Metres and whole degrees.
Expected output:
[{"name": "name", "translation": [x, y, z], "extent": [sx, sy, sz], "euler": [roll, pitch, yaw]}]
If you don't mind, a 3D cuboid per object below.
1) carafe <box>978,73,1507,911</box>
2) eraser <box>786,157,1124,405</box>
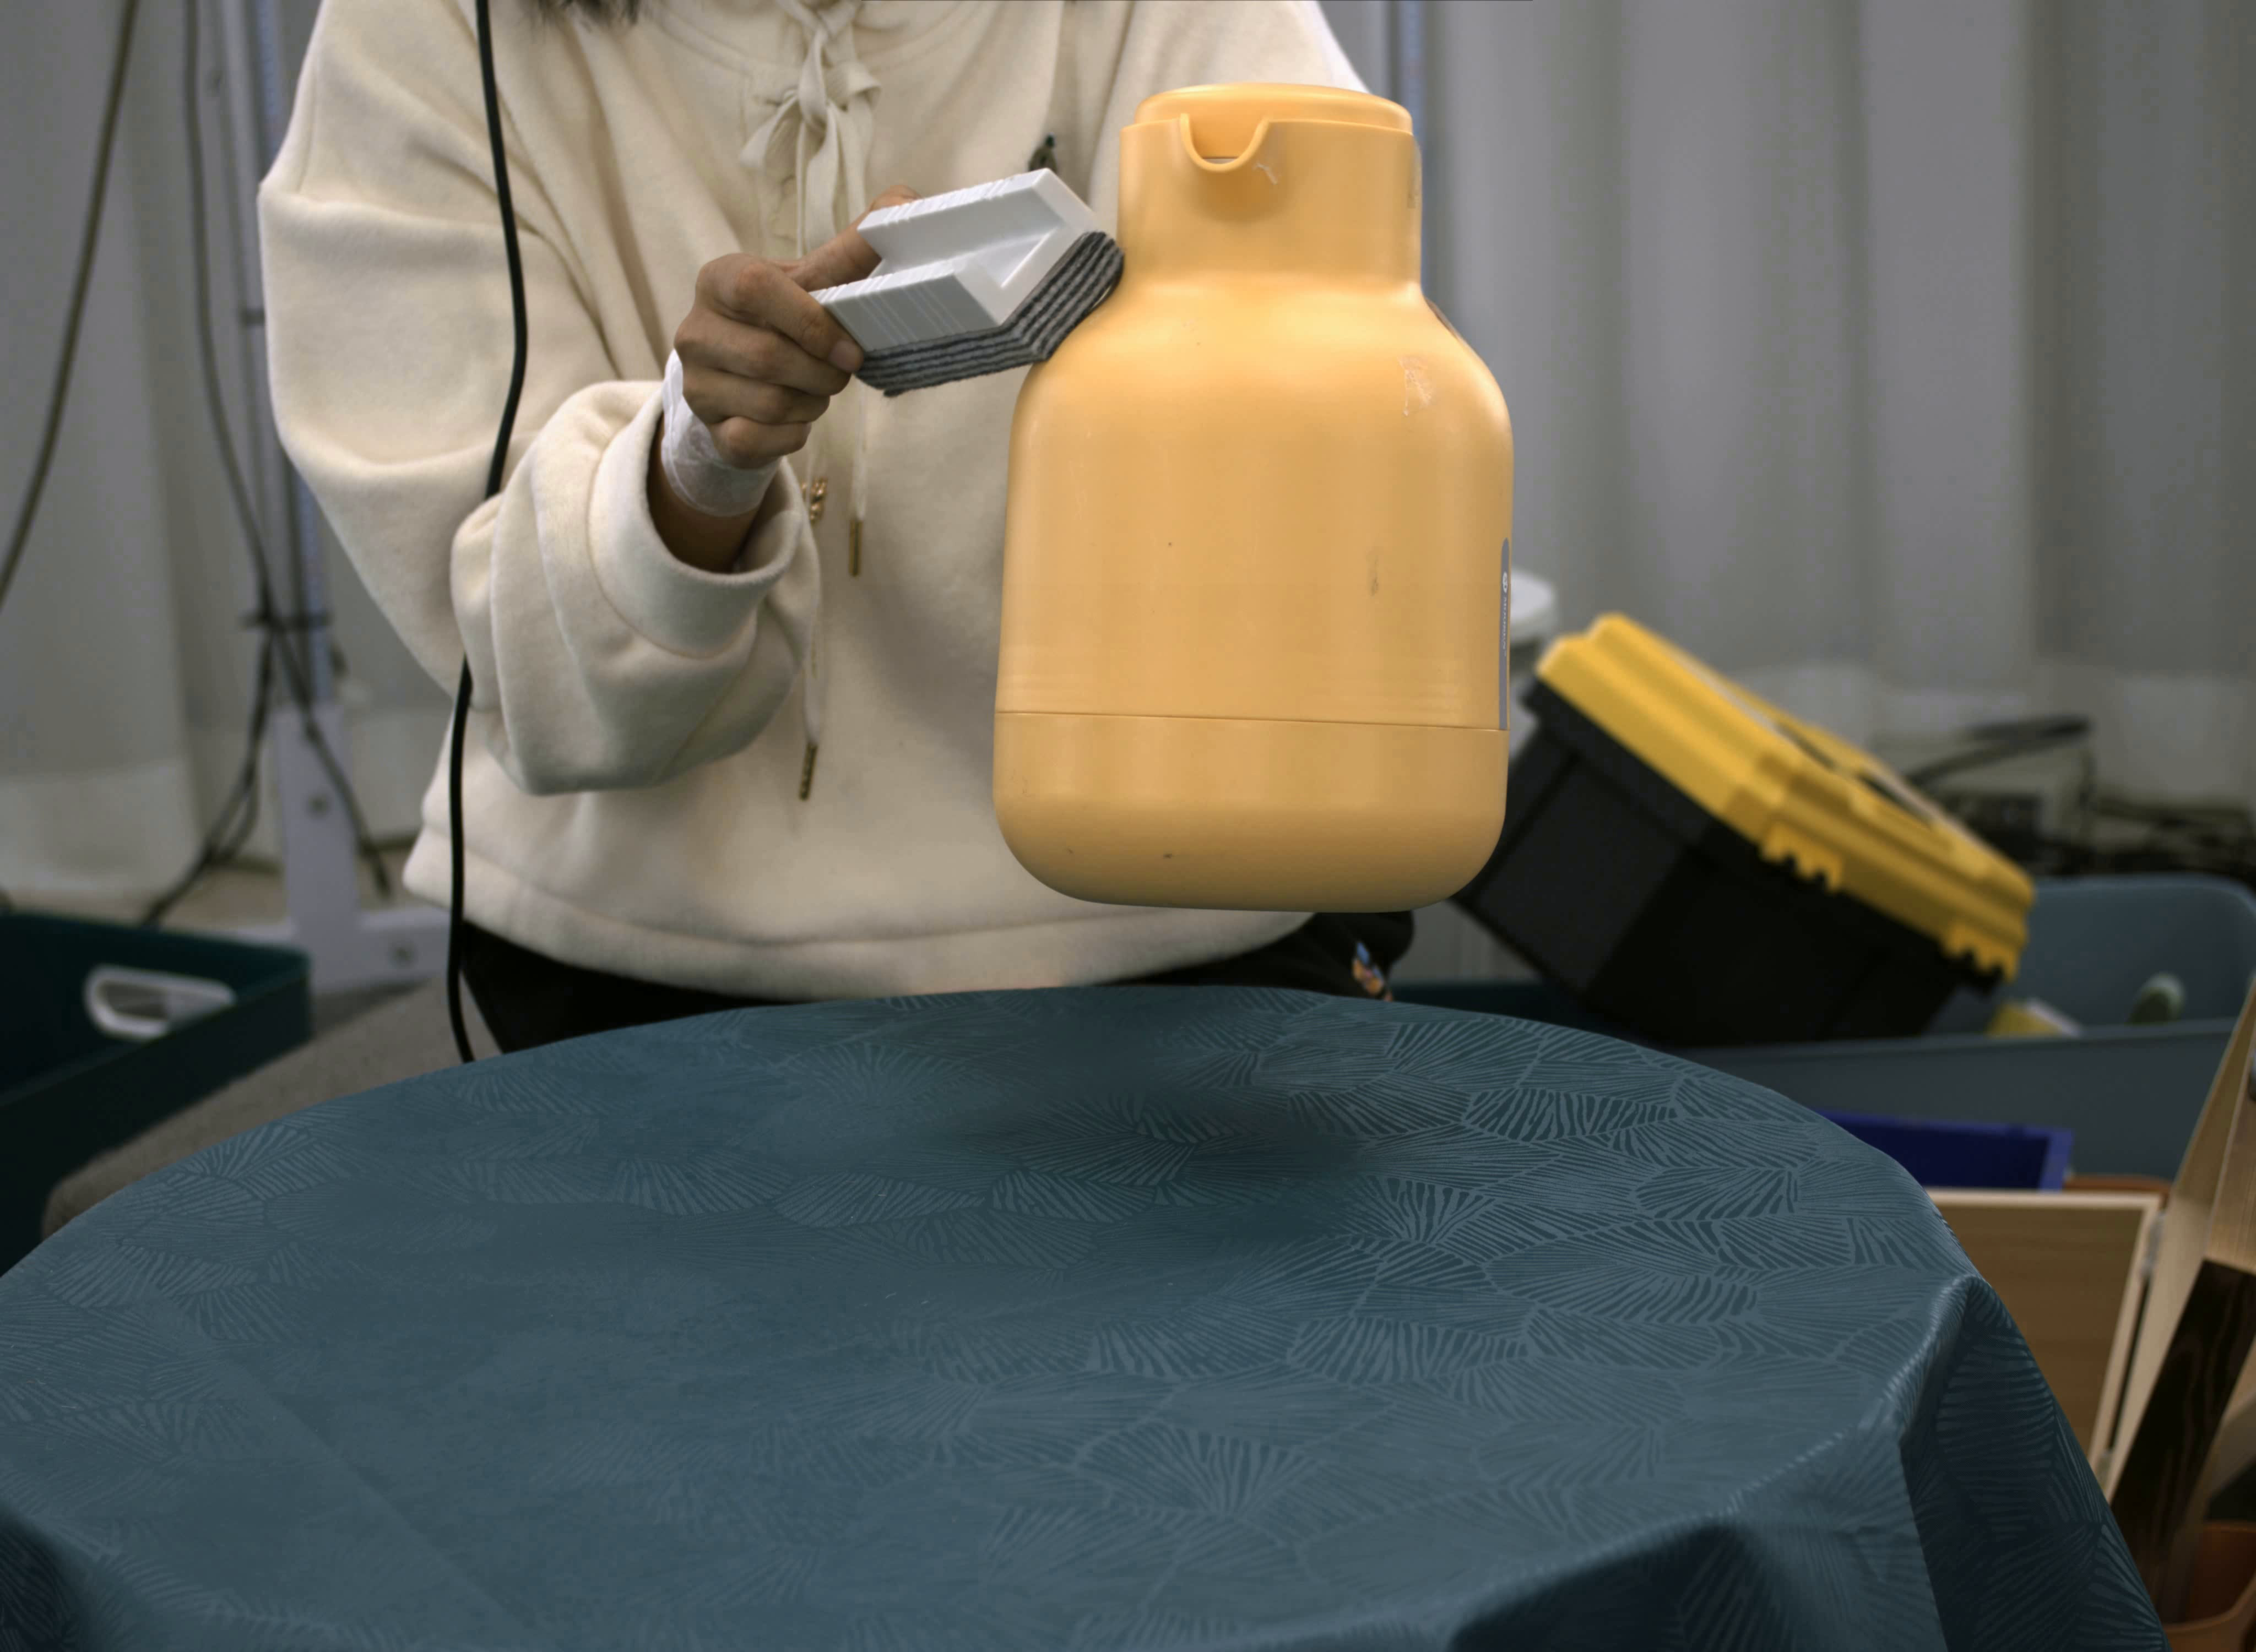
[{"name": "carafe", "translation": [0.046, -0.106, 1.752], "extent": [0.163, 0.261, 0.202], "euler": [5, 2, 16]}, {"name": "eraser", "translation": [-0.056, -0.173, 1.763], "extent": [0.050, 0.046, 0.134], "euler": [-55, 22, -20]}]
